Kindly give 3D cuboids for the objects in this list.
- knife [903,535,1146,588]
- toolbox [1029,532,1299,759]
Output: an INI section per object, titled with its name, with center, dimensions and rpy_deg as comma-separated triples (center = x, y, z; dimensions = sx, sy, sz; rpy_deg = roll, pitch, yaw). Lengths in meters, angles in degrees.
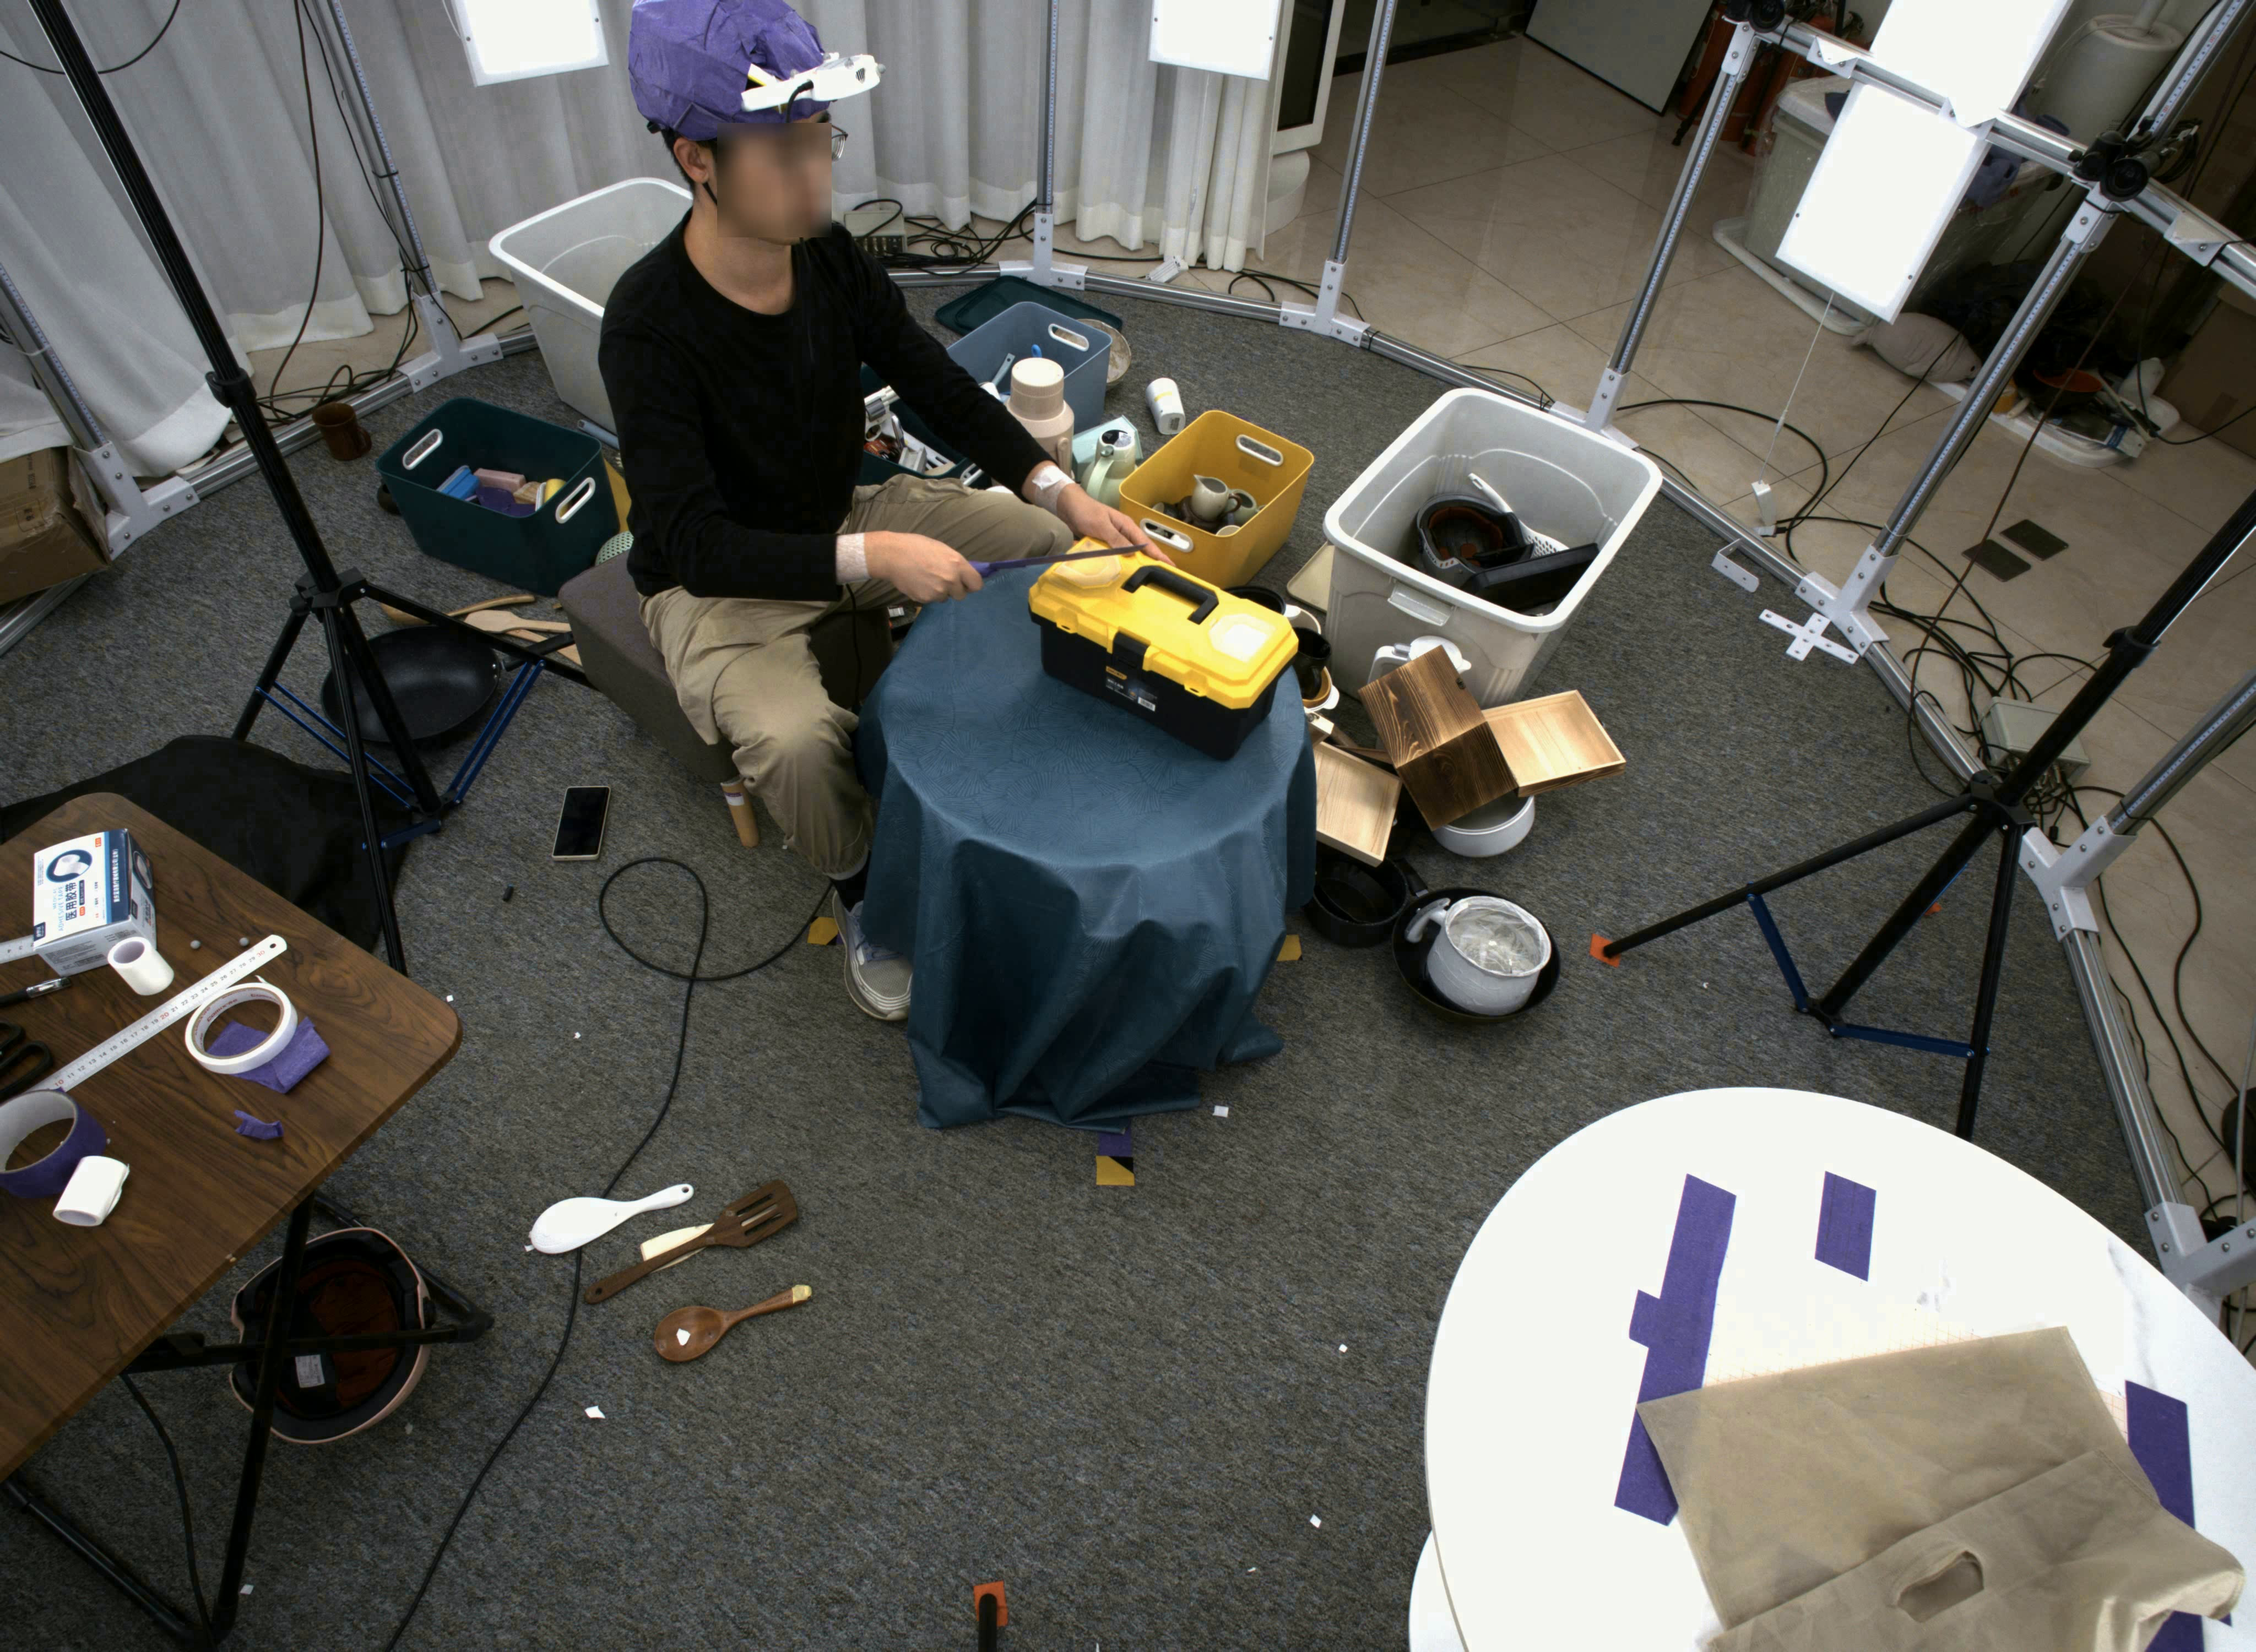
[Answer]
[knife]
center = -0.136, -0.351, 1.685
dimensions = 0.315, 0.032, 0.104
rpy_deg = -11, 7, -8
[toolbox]
center = 0.043, -0.248, 1.777
dimensions = 0.355, 0.168, 0.184
rpy_deg = 28, 52, 20
